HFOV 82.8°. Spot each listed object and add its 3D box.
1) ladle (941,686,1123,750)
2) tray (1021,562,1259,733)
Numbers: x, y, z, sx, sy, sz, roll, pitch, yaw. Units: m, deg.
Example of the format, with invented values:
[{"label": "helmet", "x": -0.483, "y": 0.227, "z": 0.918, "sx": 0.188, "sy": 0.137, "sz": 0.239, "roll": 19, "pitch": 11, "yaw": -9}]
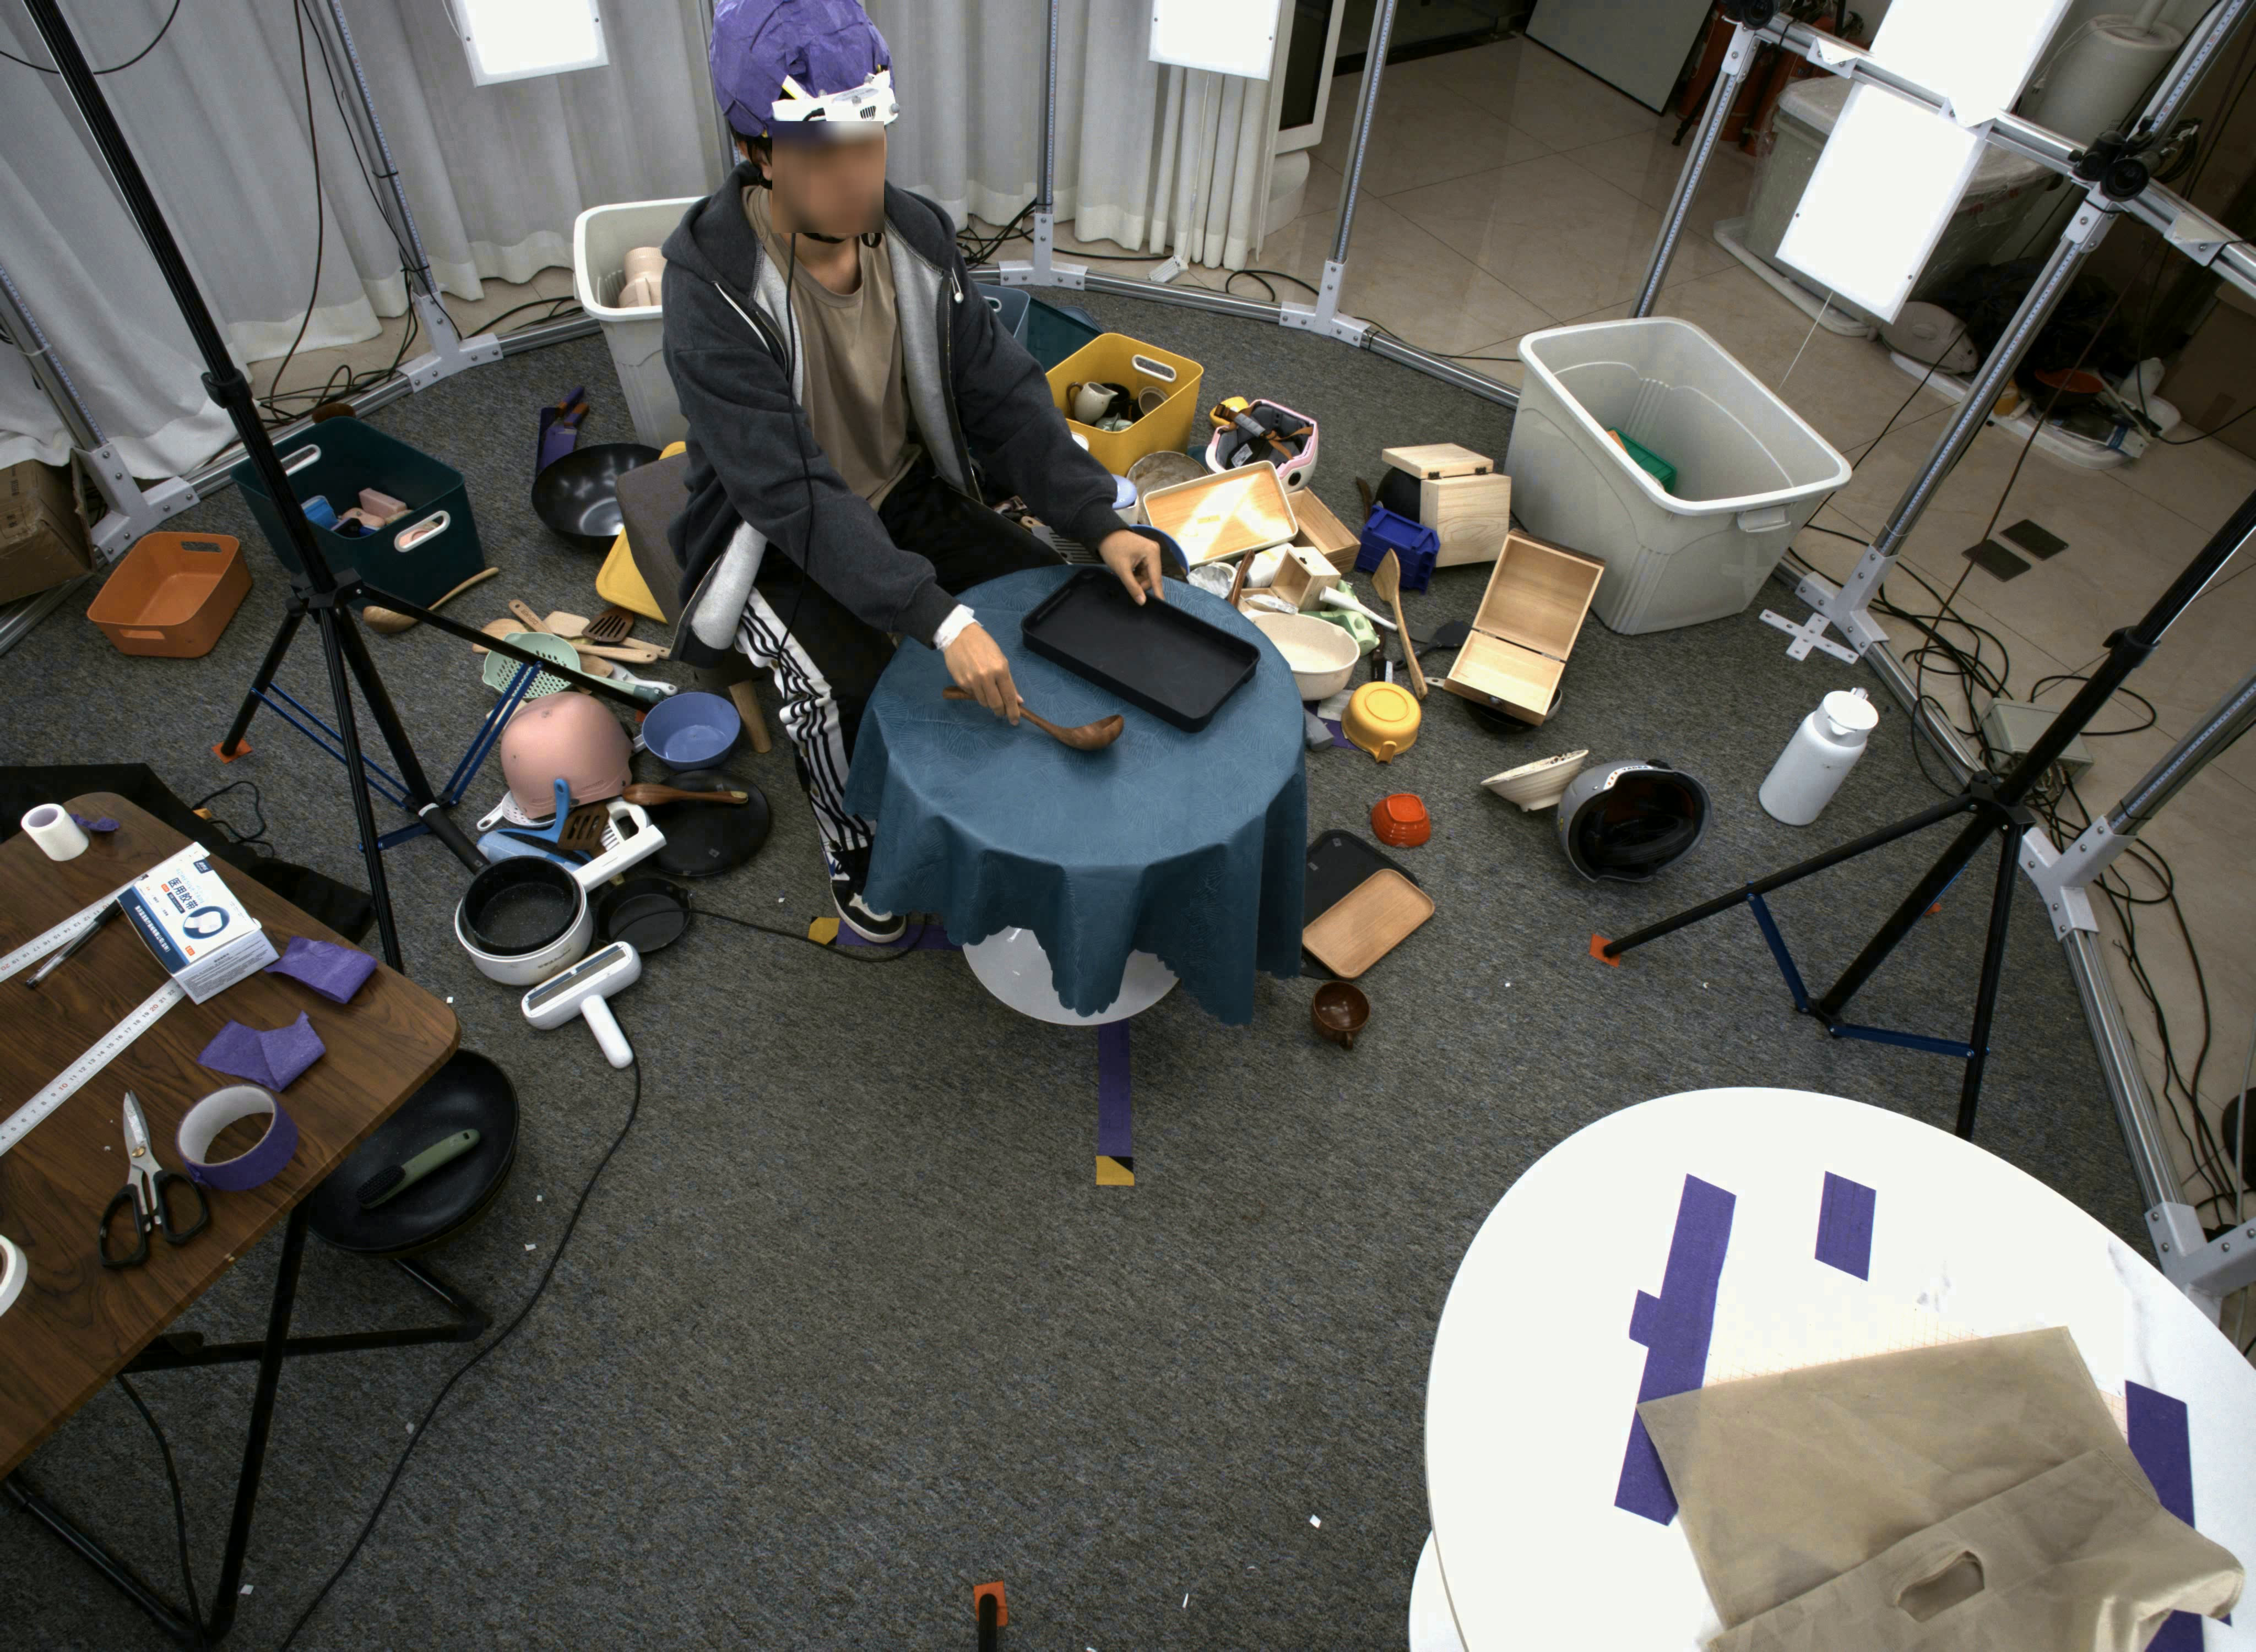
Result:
[{"label": "ladle", "x": -0.131, "y": -0.163, "z": 1.750, "sx": 0.261, "sy": 0.064, "sz": 0.077, "roll": 21, "pitch": 25, "yaw": 10}, {"label": "tray", "x": 0.016, "y": -0.264, "z": 1.870, "sx": 0.321, "sy": 0.036, "sz": 0.187, "roll": 30, "pitch": 54, "yaw": 19}]
